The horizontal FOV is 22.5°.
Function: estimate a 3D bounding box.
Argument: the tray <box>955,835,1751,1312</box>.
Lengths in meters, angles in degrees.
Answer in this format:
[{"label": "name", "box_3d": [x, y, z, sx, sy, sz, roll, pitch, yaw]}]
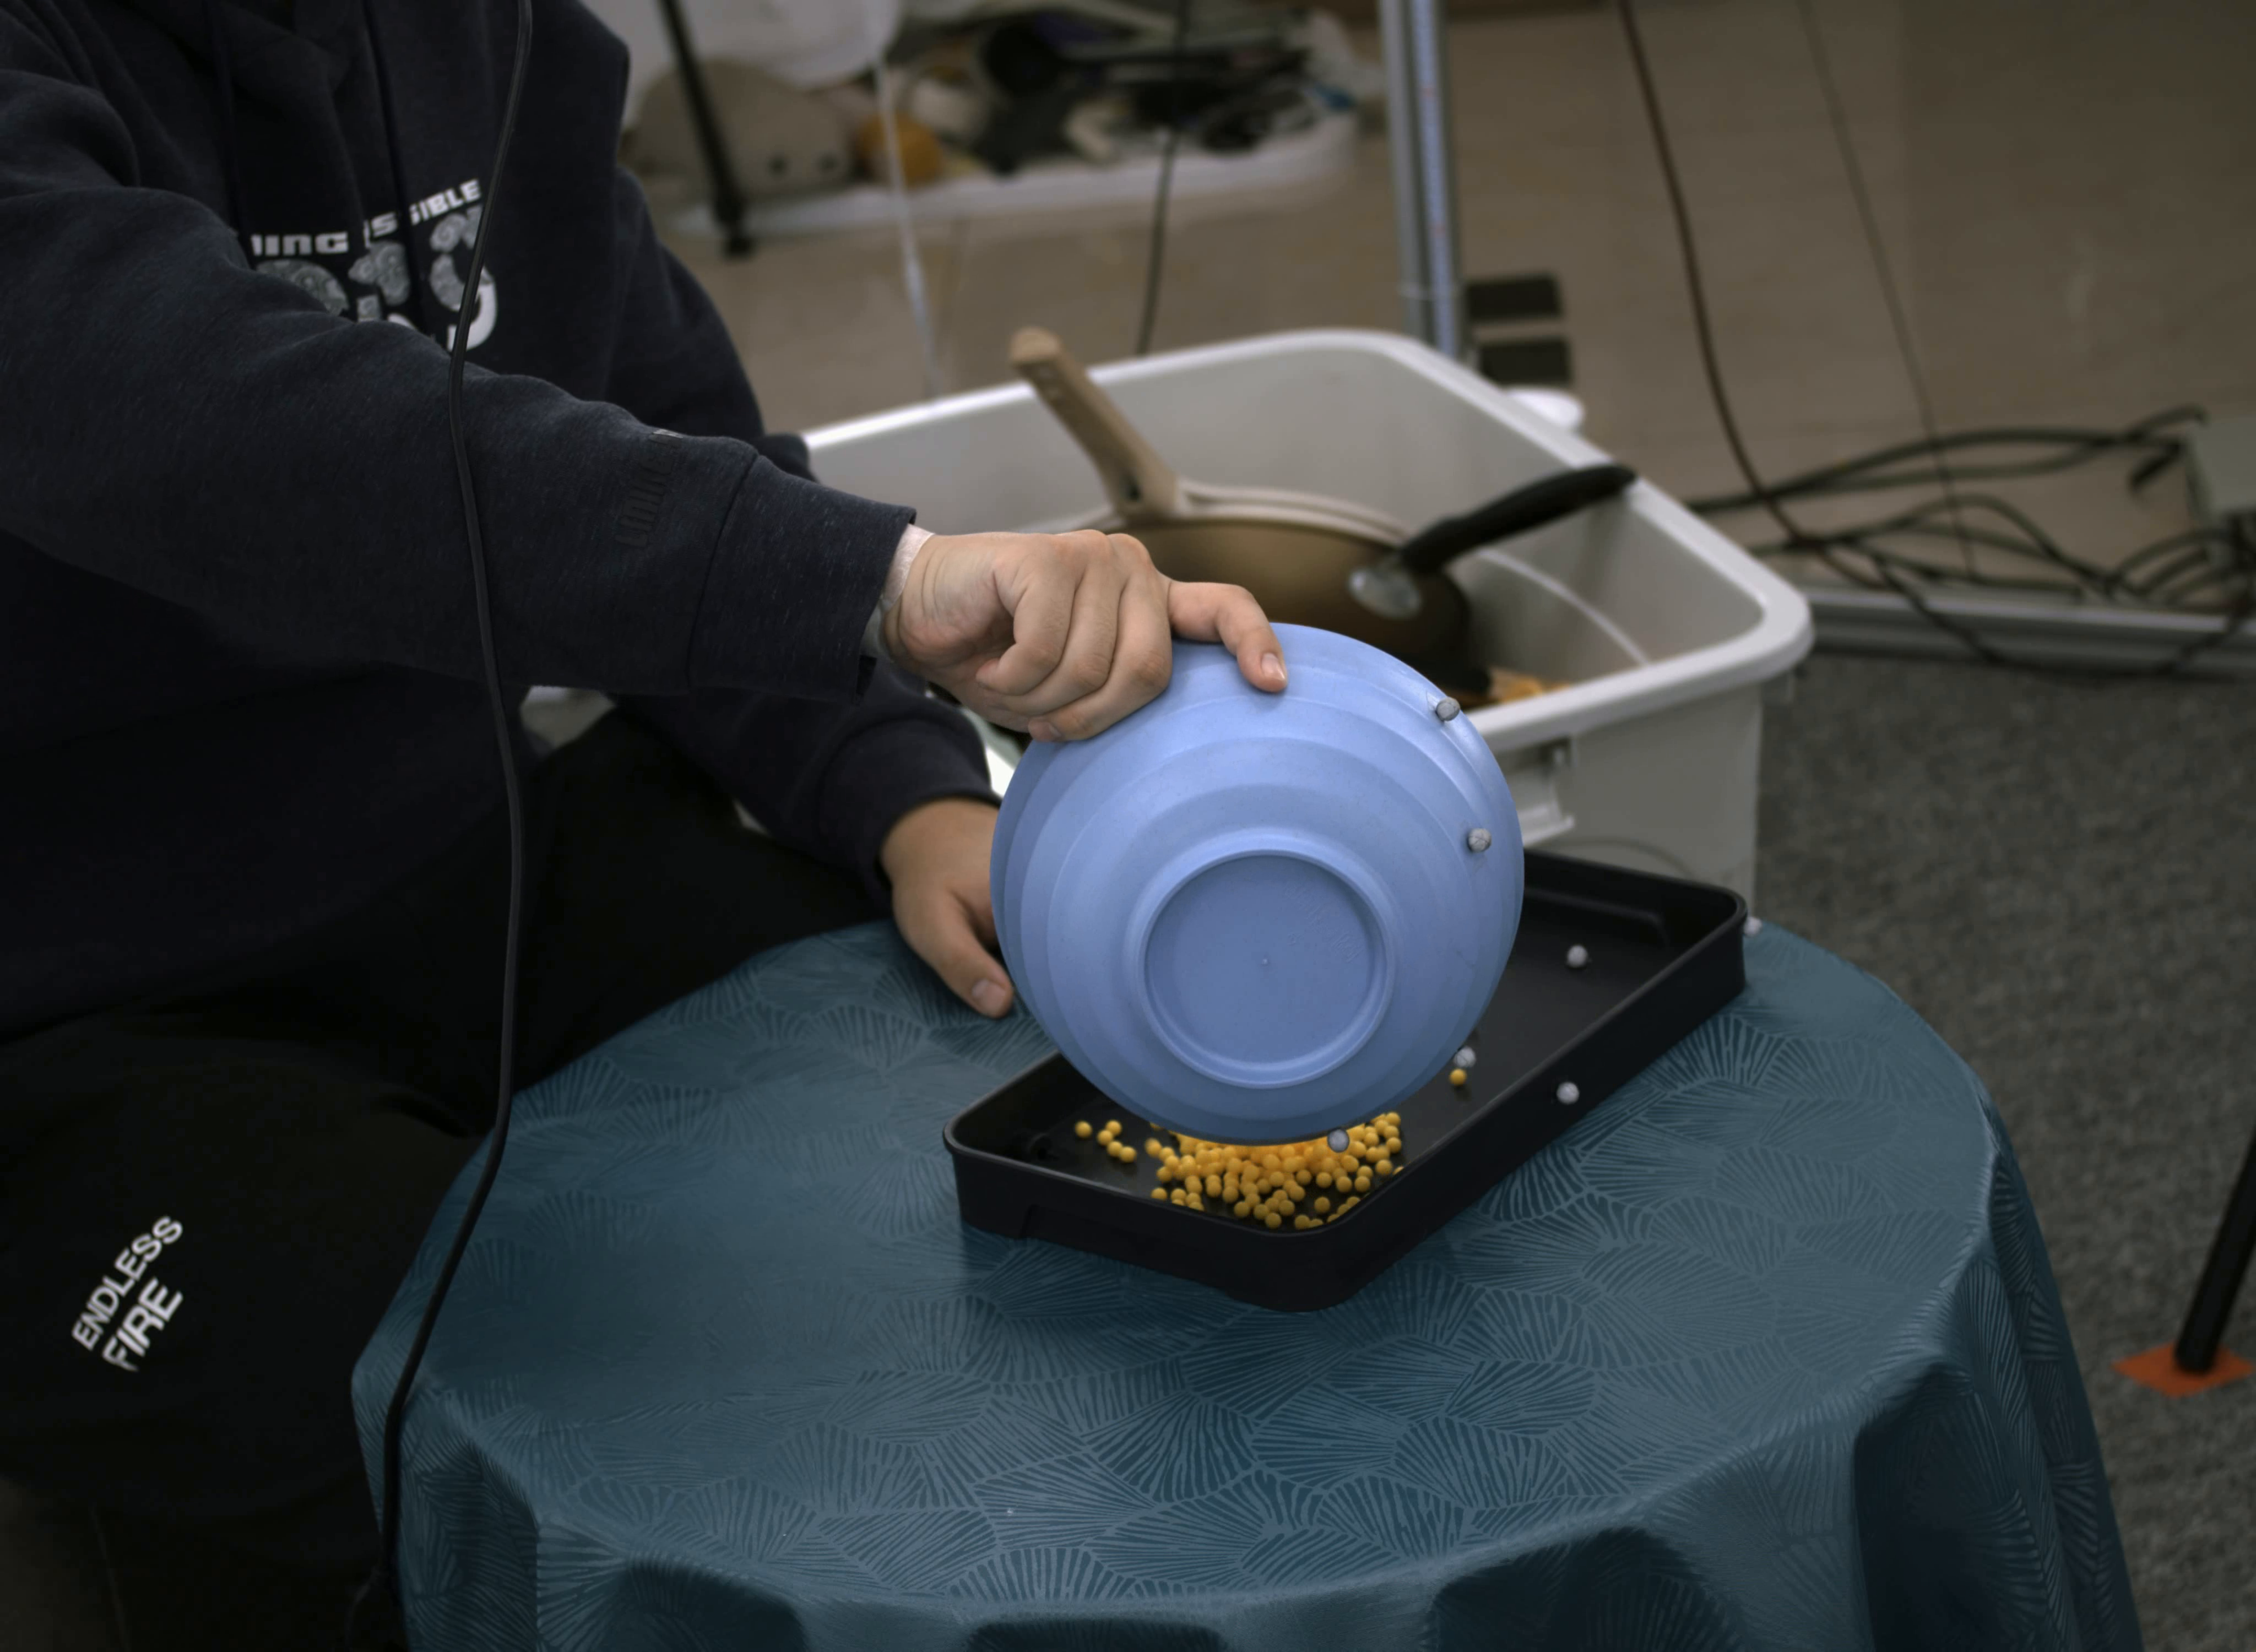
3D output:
[{"label": "tray", "box_3d": [0.093, 0.087, 2.199, 0.183, 0.037, 0.314, 11, 31, 35]}]

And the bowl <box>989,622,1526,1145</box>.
[{"label": "bowl", "box_3d": [0.047, 0.034, 2.030, 0.196, 0.199, 0.094, -5, 22, 2]}]
